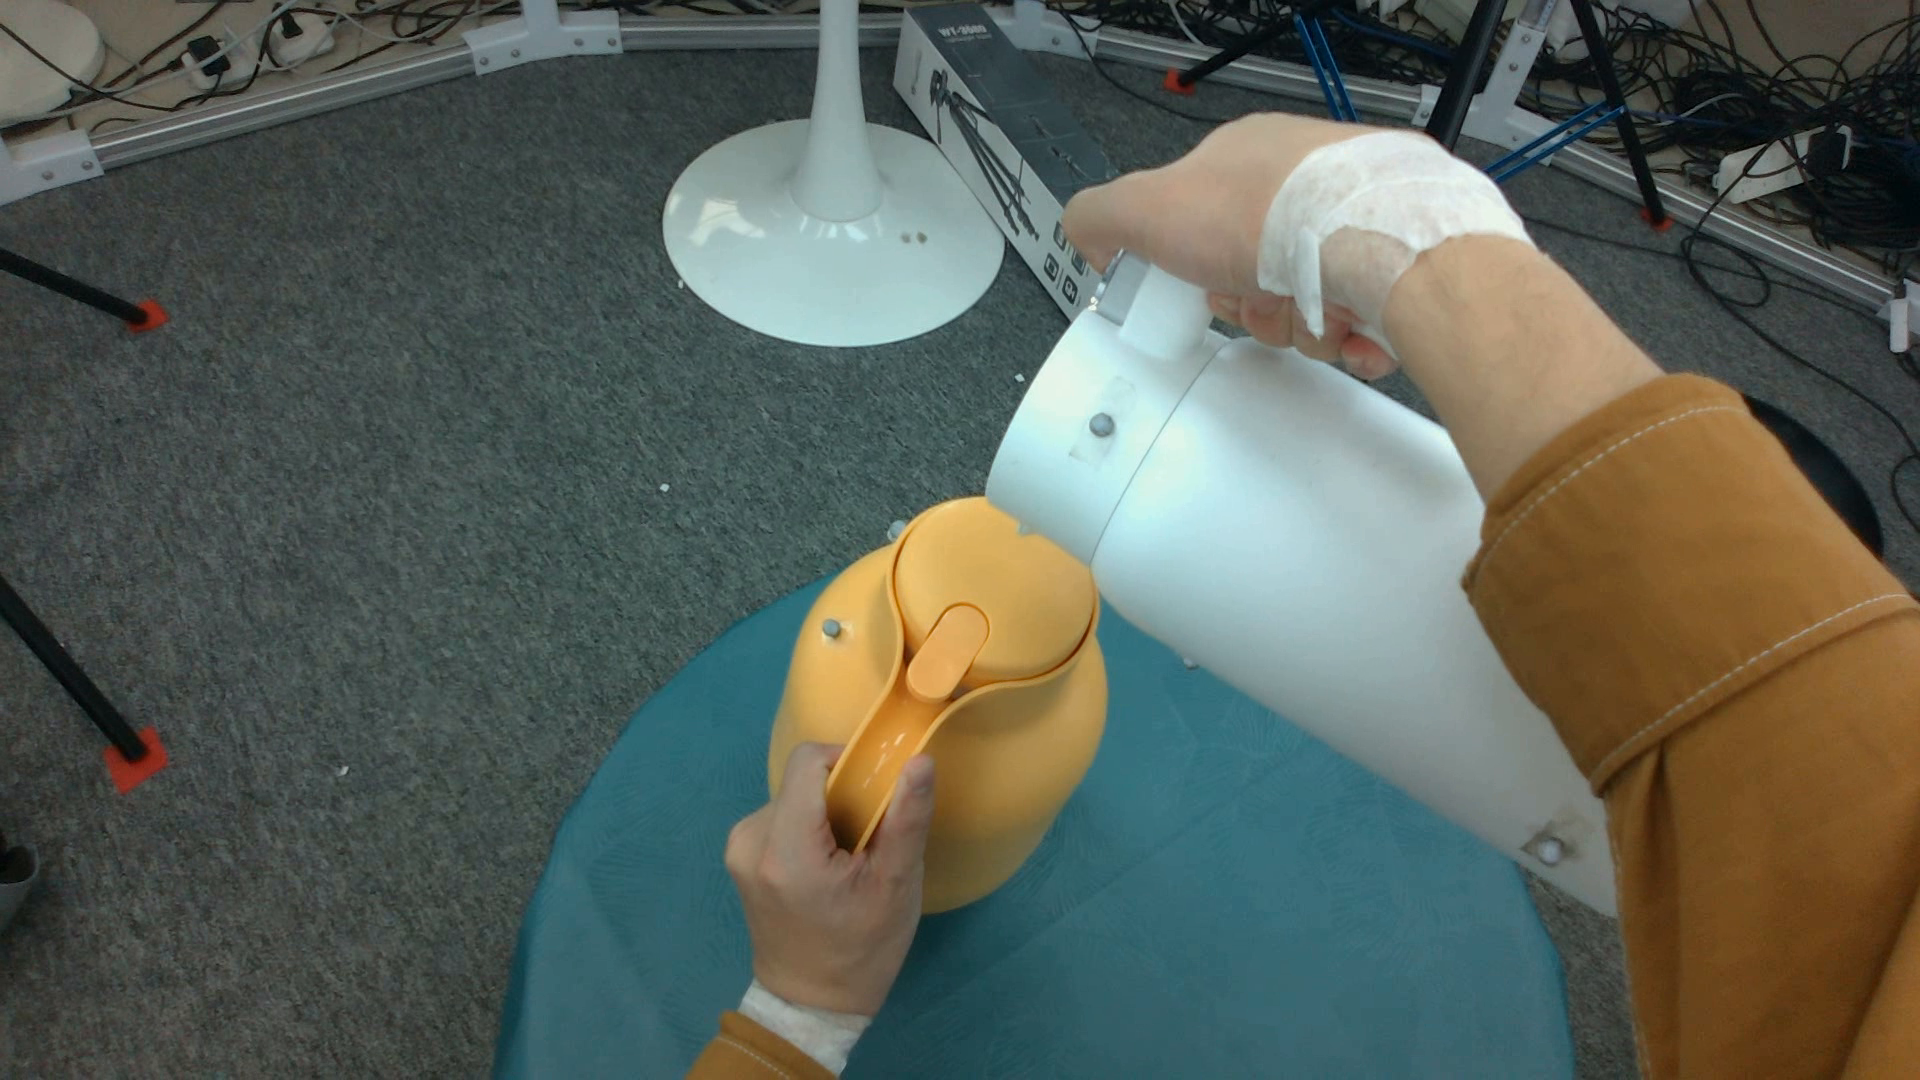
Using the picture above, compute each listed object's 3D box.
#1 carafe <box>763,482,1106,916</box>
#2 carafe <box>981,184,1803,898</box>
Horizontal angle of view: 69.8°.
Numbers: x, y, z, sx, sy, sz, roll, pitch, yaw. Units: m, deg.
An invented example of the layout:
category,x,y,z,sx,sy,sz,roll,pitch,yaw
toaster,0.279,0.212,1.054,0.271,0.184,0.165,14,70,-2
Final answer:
category,x,y,z,sx,sy,sz,roll,pitch,yaw
carafe,-0.021,0.089,0.687,0.163,0.259,0.203,33,55,10
carafe,0.150,-0.004,0.487,0.269,0.172,0.124,33,42,11
